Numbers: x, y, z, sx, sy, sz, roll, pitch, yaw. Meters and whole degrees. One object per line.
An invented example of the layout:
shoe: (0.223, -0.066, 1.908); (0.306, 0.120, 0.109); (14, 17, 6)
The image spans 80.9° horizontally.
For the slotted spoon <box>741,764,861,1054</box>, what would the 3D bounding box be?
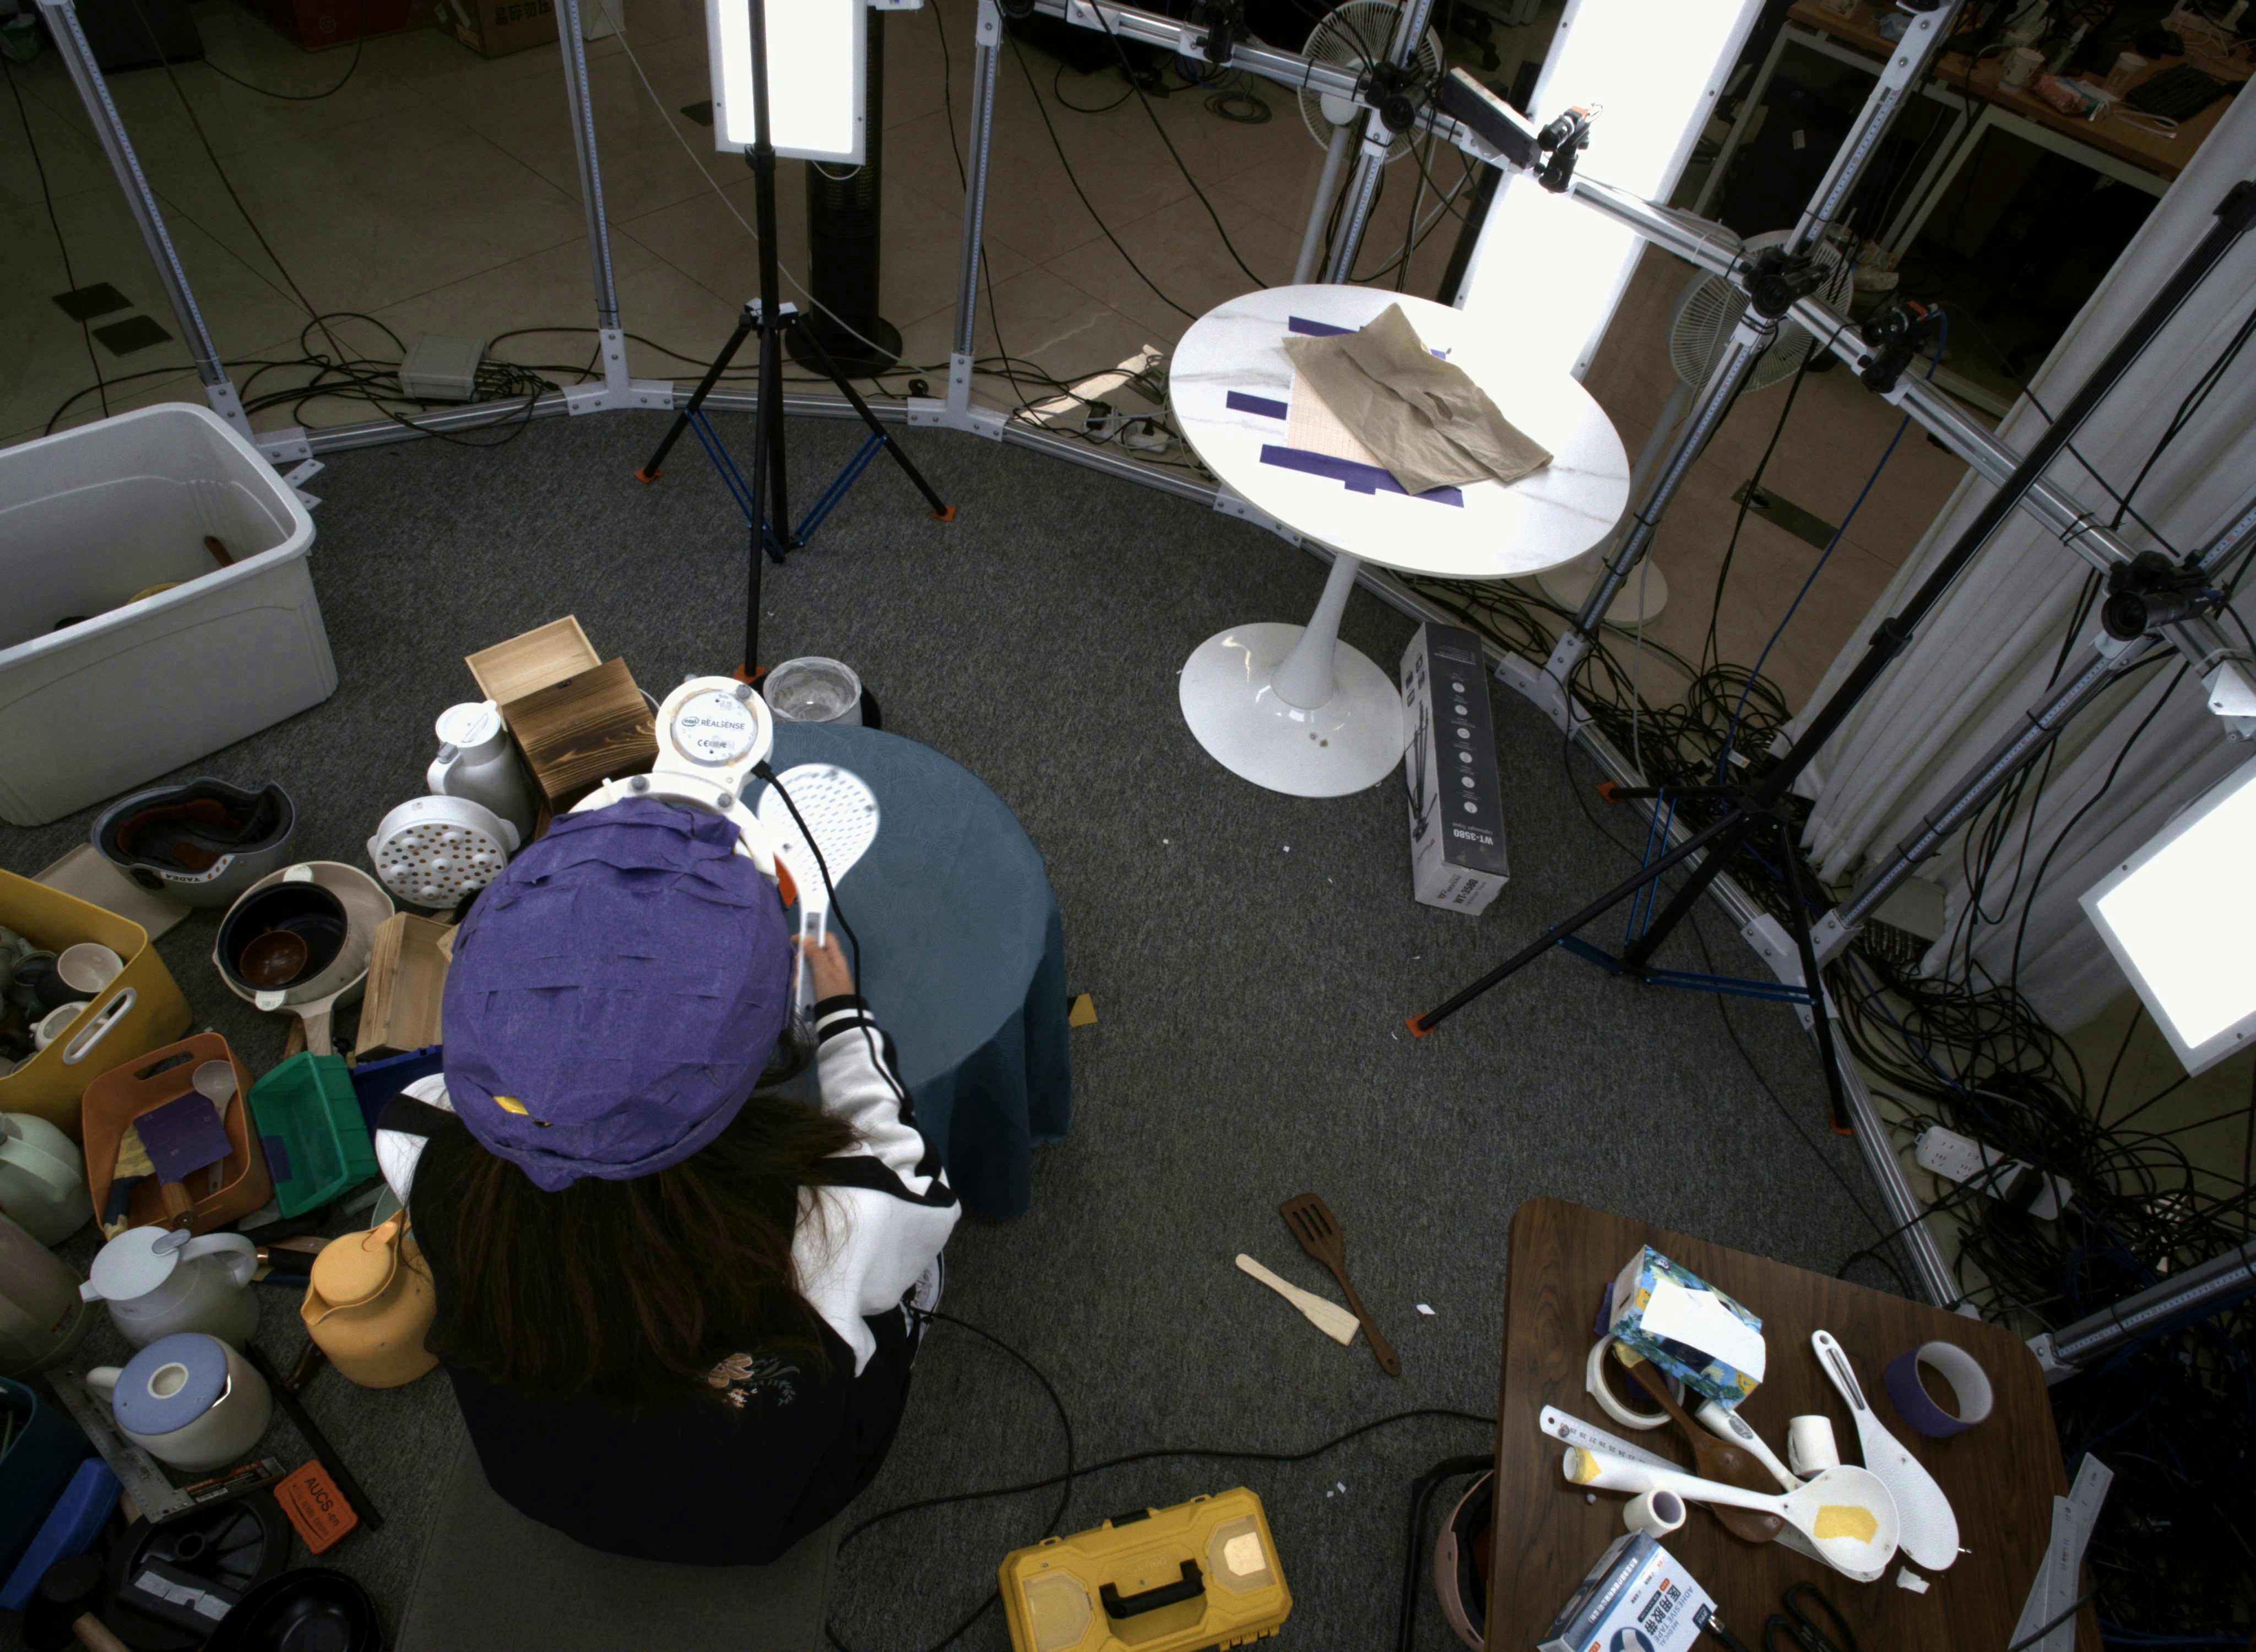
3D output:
slotted spoon: (-0.369, 0.085, 1.454); (0.137, 0.046, 0.343); (4, 57, -19)

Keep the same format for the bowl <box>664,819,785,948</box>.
bowl: (-0.487, 0.080, 1.569); (0.148, 0.106, 0.145); (12, 50, -12)
